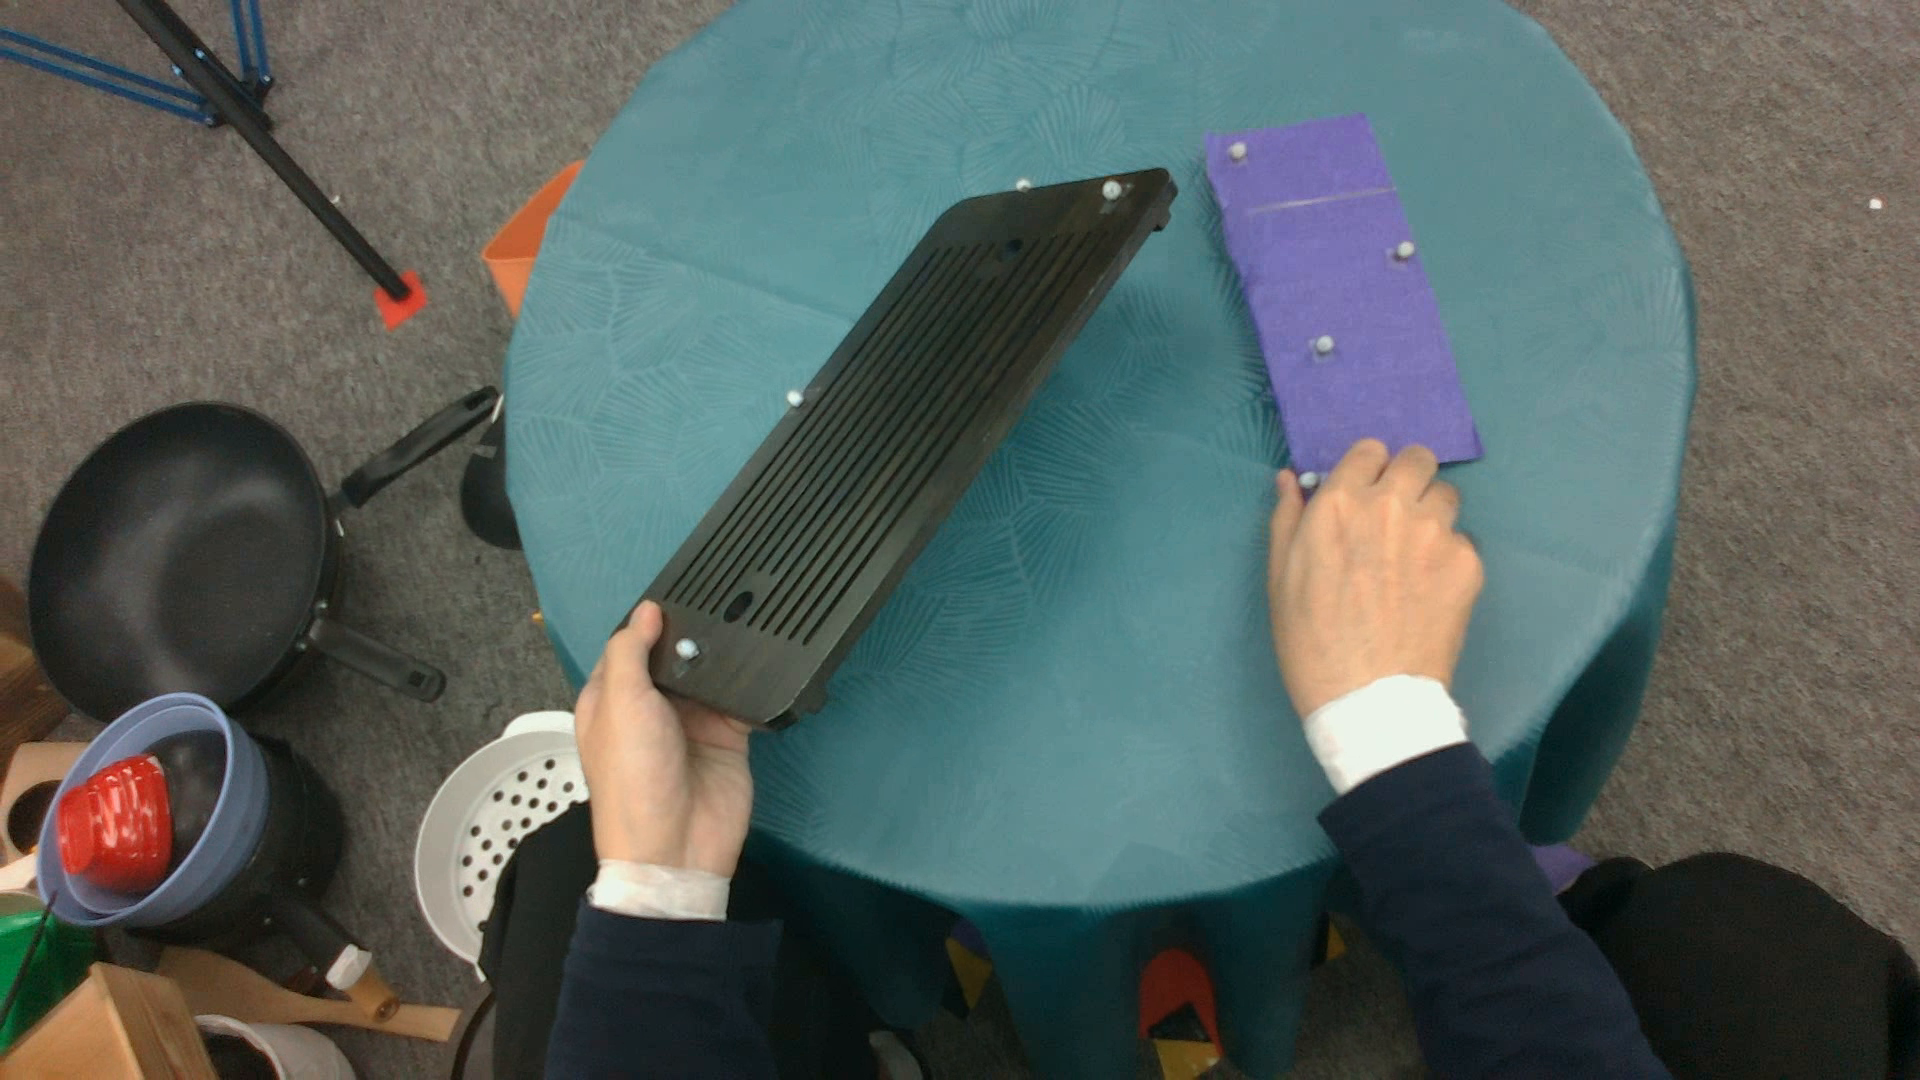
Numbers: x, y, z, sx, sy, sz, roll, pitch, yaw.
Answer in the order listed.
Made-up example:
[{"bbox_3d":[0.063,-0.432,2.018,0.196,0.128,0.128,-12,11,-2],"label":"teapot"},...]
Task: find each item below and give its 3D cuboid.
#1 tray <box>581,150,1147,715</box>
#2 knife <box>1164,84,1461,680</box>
[{"bbox_3d":[-0.044,-0.059,0.627,0.170,0.018,0.307,9,59,52],"label":"tray"},{"bbox_3d":[0.182,-0.091,0.651,0.104,0.032,0.316,-7,69,-10],"label":"knife"}]
